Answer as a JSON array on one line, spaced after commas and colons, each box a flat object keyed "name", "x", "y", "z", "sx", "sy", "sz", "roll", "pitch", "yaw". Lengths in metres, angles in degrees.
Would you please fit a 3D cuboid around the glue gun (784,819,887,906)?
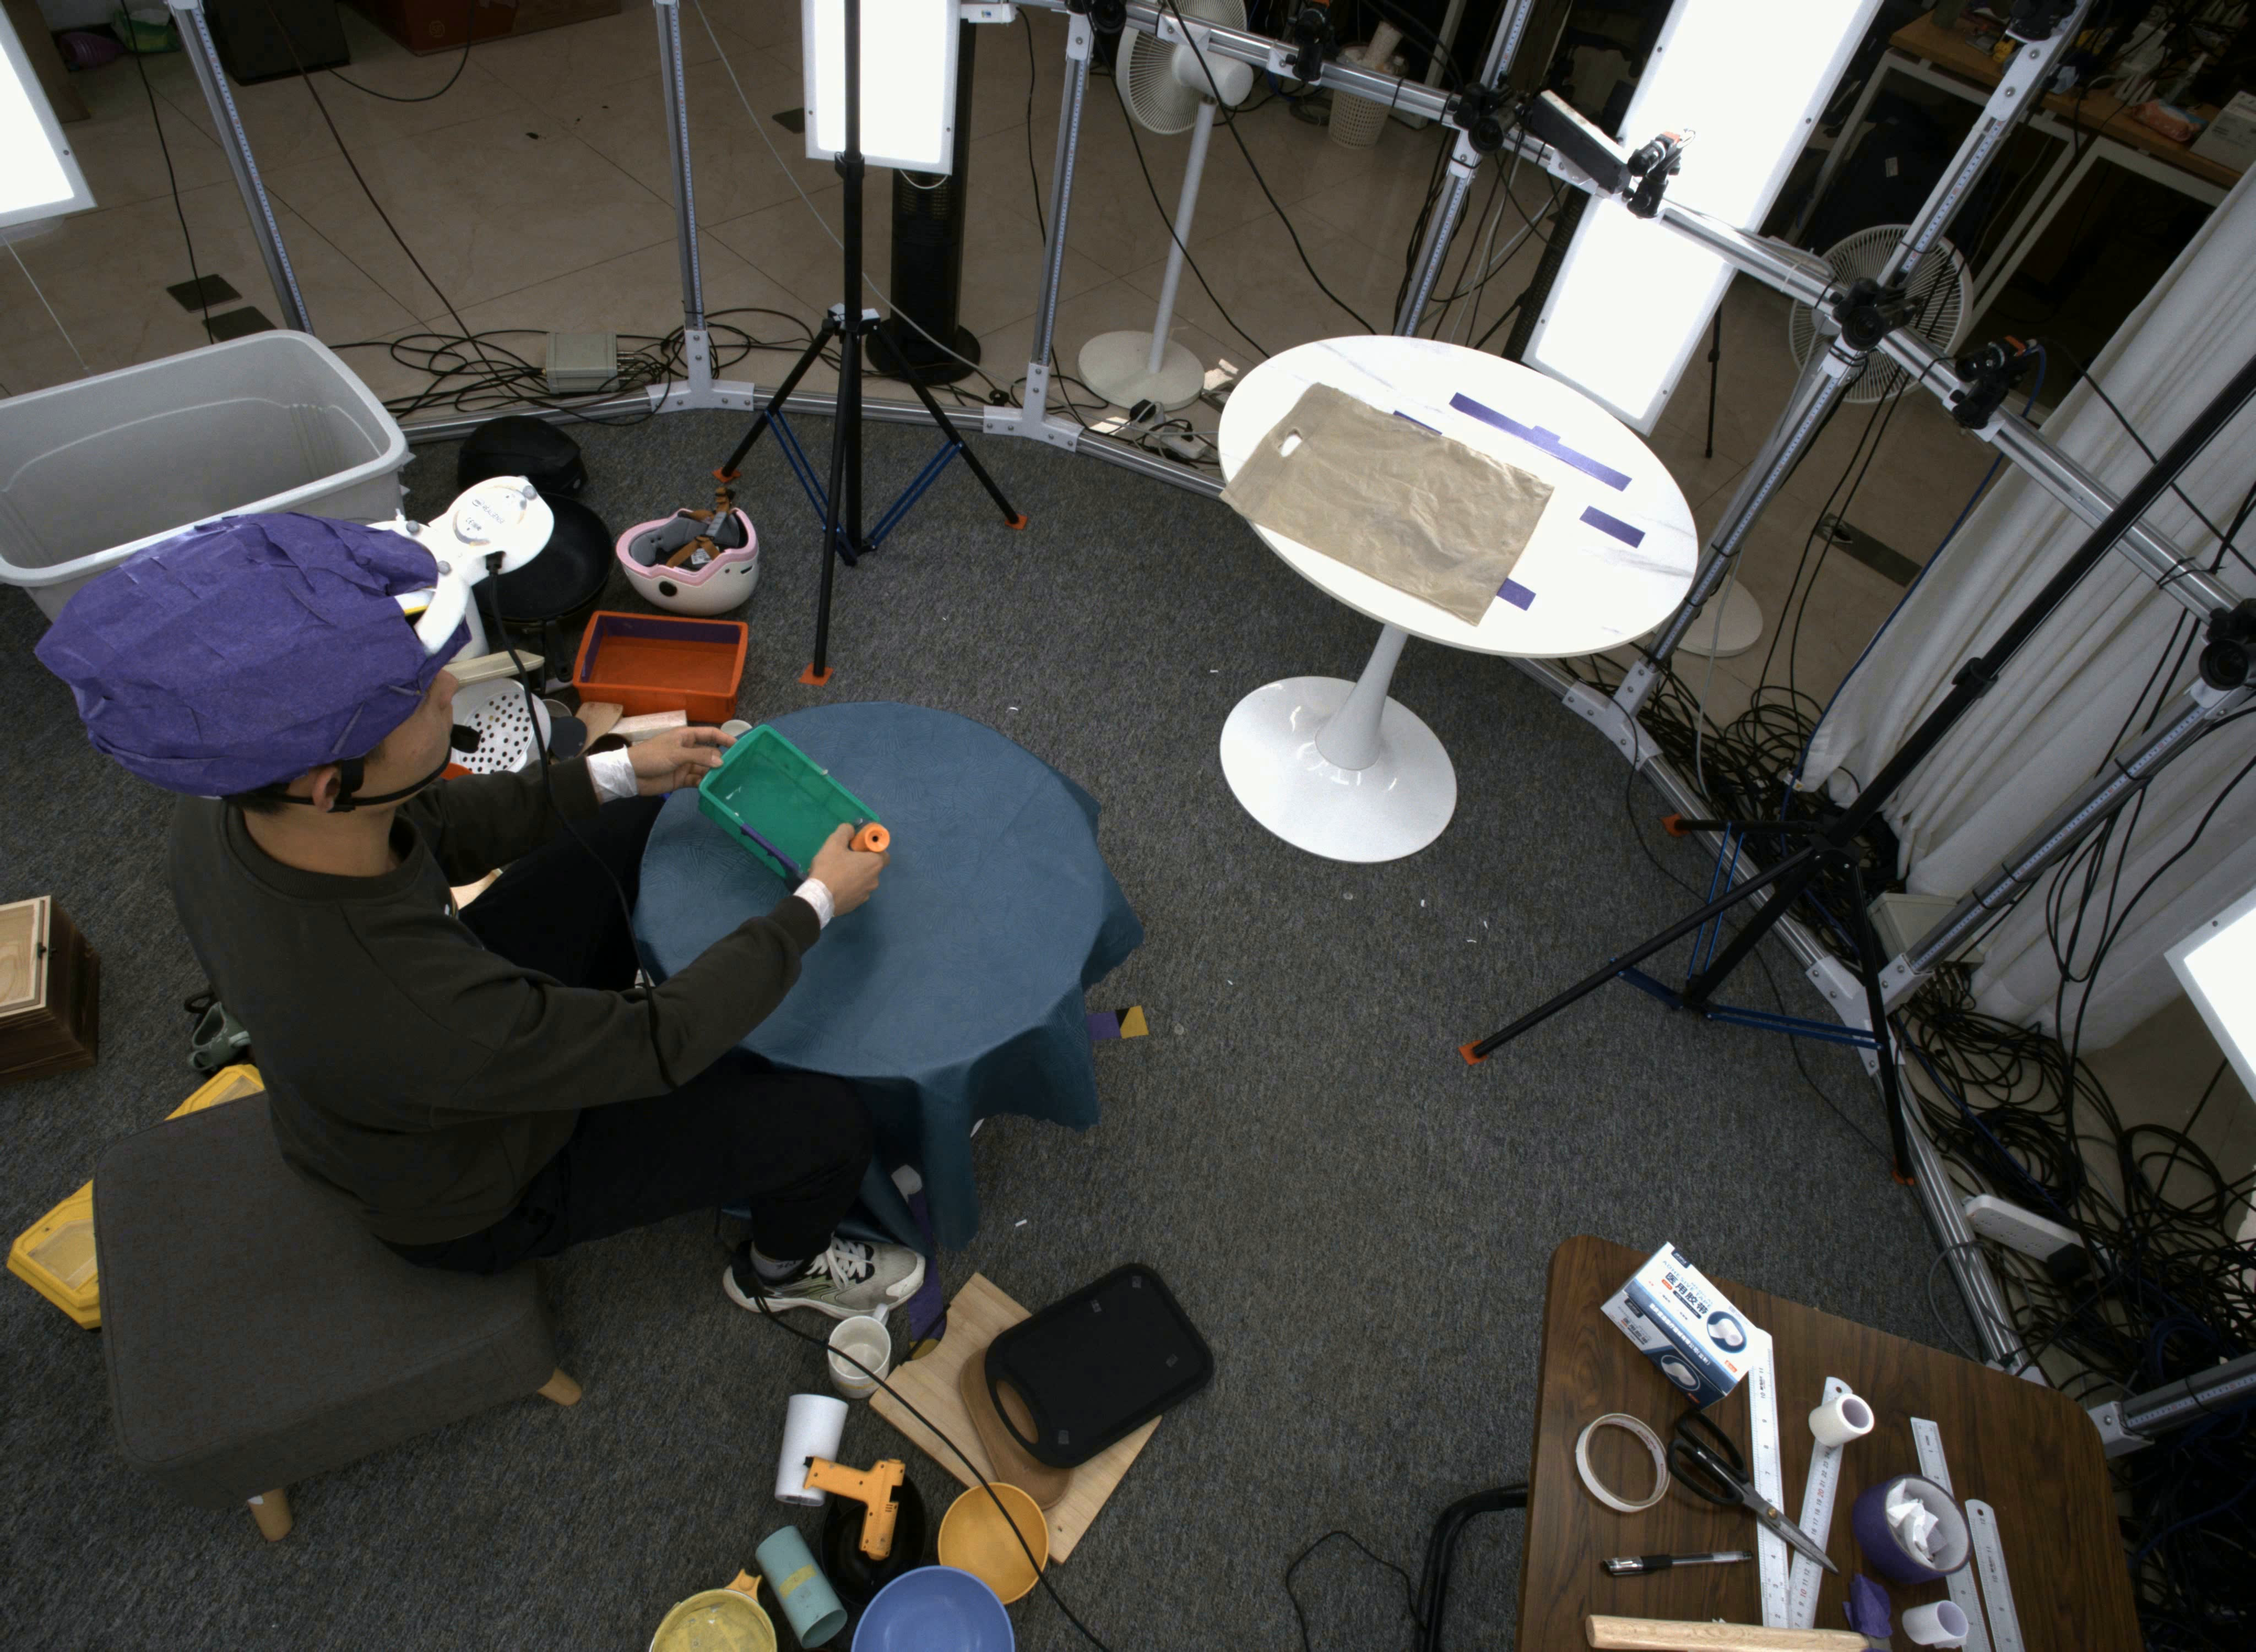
[{"name": "glue gun", "x": -0.350, "y": 0.035, "z": 1.578, "sx": 0.140, "sy": 0.116, "sz": 0.042, "roll": -44, "pitch": 103, "yaw": -32}]

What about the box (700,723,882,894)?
[{"name": "box", "x": -0.434, "y": -0.015, "z": 1.653, "sx": 0.213, "sy": 0.065, "sz": 0.138, "roll": 40, "pitch": 54, "yaw": -10}]
